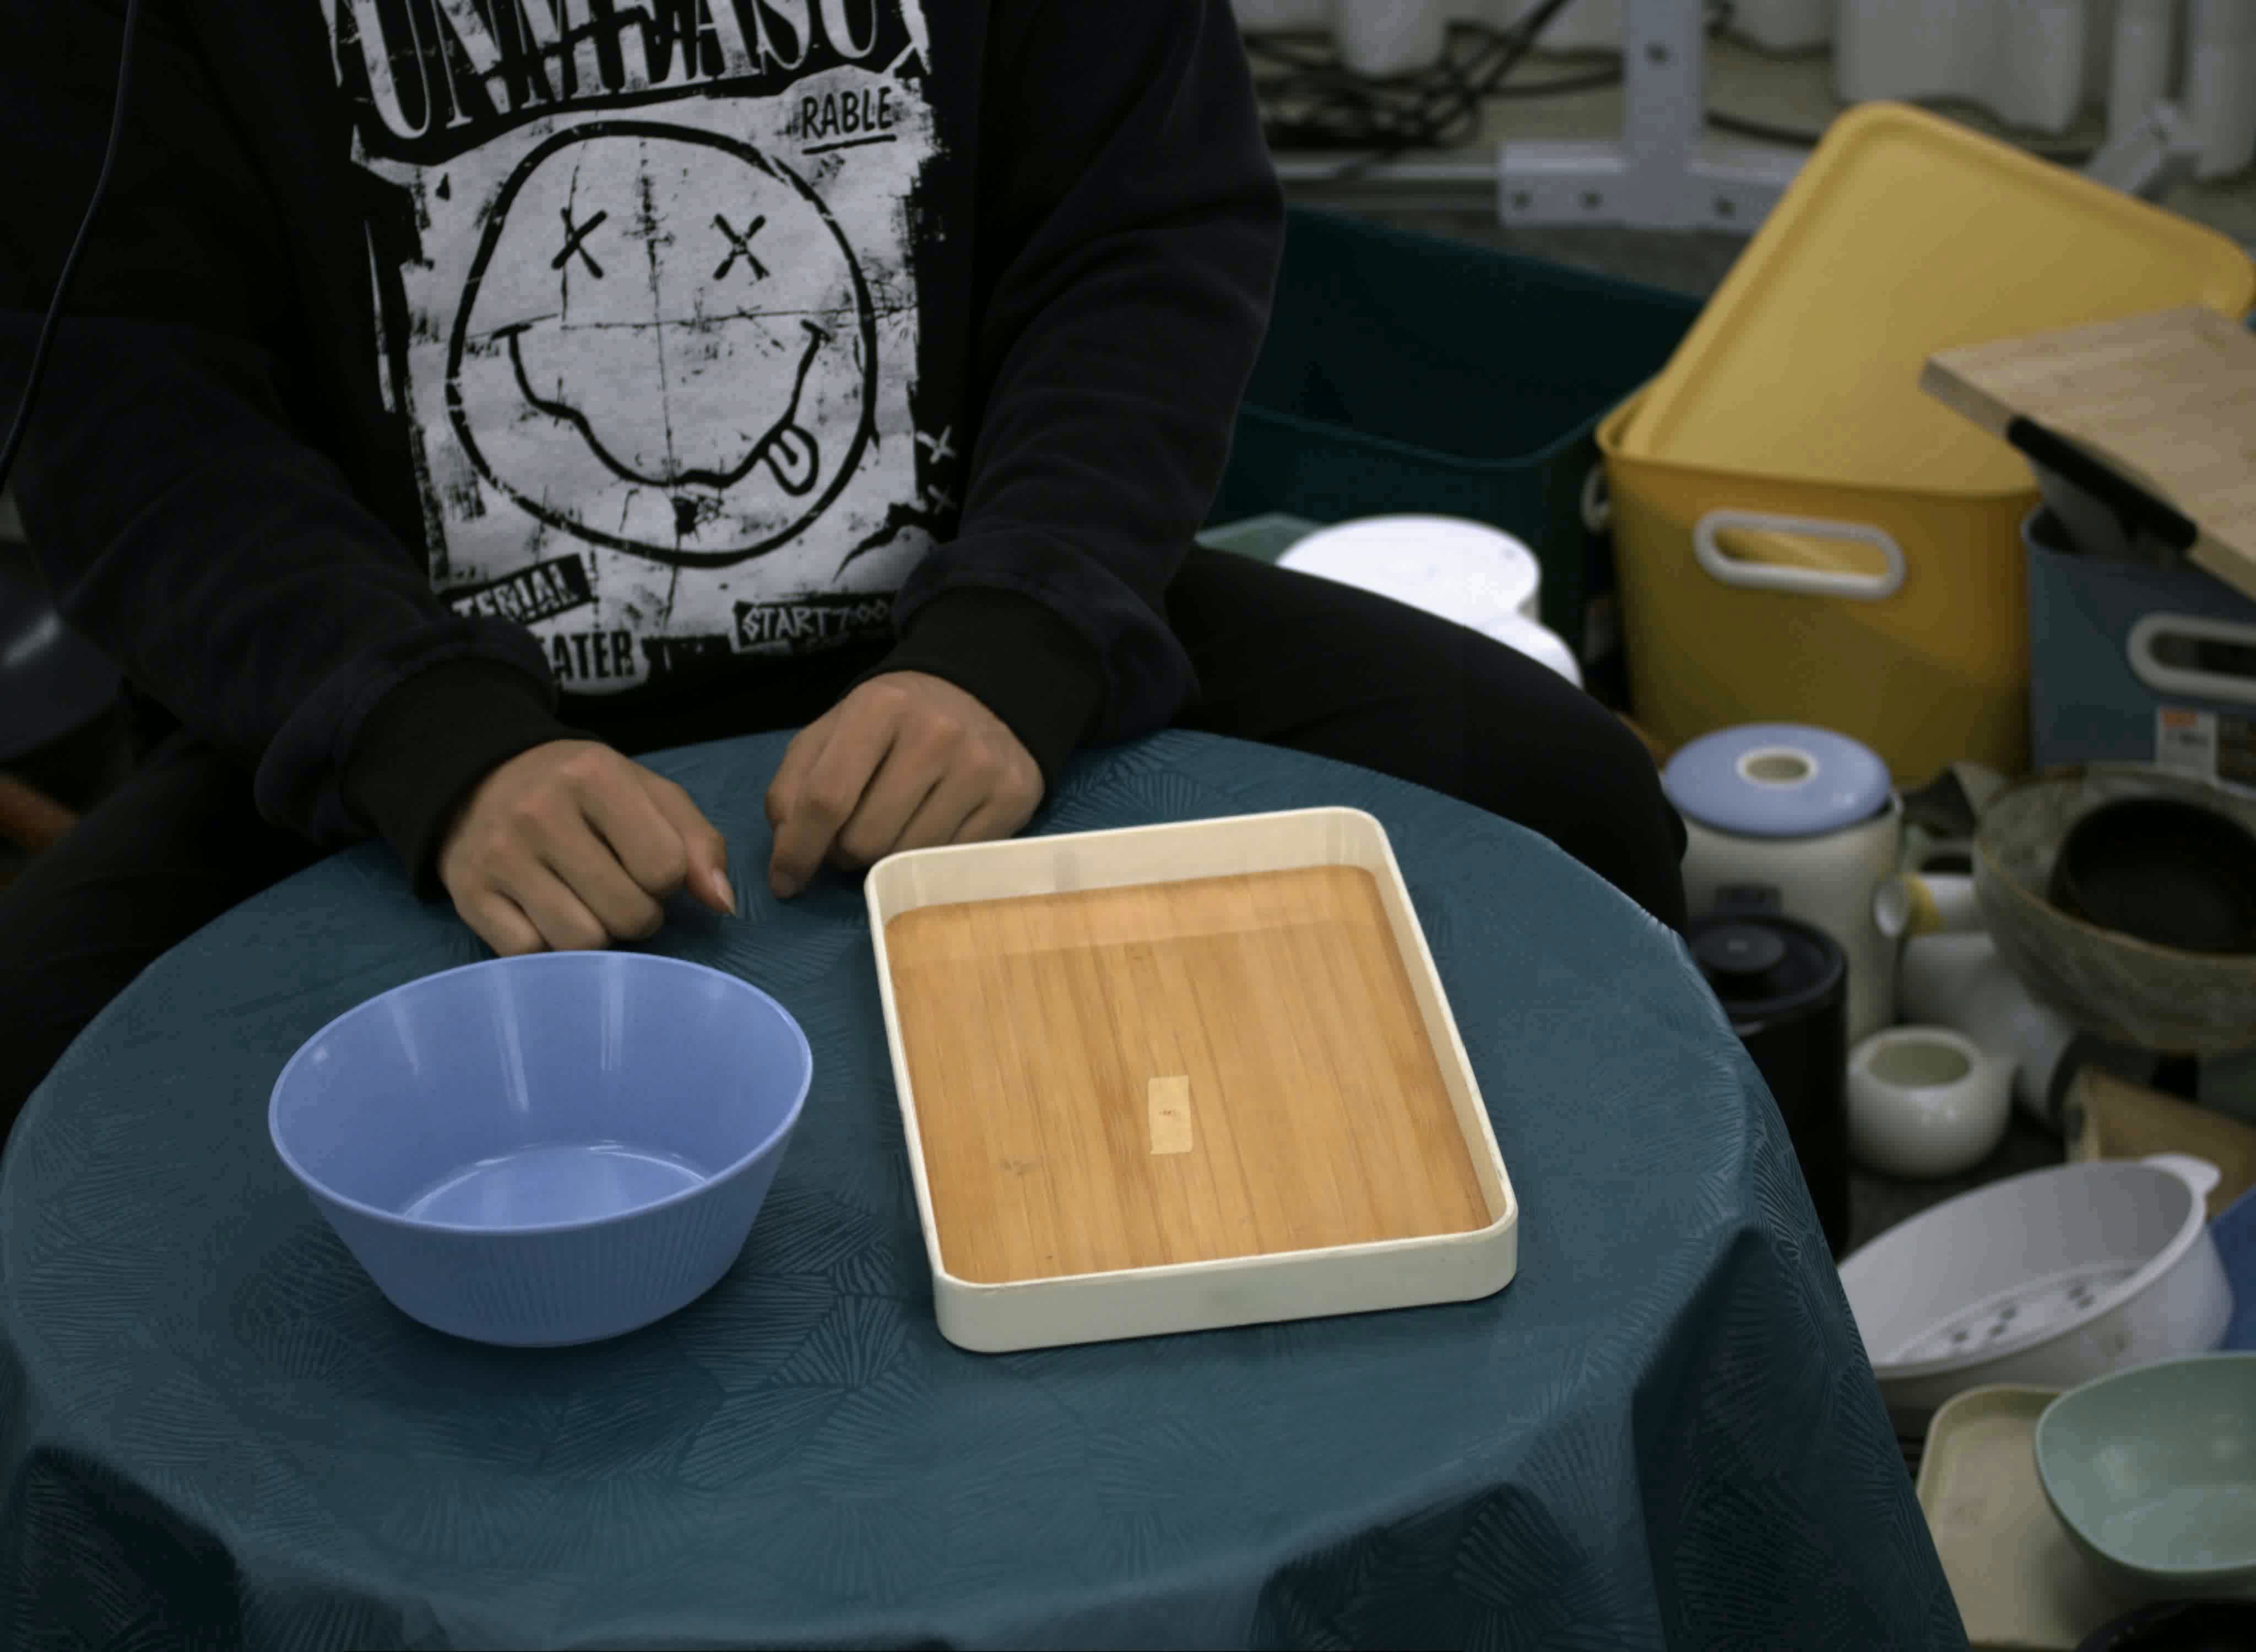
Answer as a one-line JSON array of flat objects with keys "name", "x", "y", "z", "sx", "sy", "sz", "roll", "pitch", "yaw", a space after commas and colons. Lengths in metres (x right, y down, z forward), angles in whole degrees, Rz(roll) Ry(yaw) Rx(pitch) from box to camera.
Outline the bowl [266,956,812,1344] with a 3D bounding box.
[{"name": "bowl", "x": -0.188, "y": 0.111, "z": 1.823, "sx": 0.175, "sy": 0.069, "sz": 0.179, "roll": -1, "pitch": 27, "yaw": 1}]

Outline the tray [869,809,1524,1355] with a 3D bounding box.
[{"name": "tray", "x": 0.017, "y": 0.081, "z": 1.909, "sx": 0.191, "sy": 0.027, "sz": 0.304, "roll": -6, "pitch": 28, "yaw": -5}]
